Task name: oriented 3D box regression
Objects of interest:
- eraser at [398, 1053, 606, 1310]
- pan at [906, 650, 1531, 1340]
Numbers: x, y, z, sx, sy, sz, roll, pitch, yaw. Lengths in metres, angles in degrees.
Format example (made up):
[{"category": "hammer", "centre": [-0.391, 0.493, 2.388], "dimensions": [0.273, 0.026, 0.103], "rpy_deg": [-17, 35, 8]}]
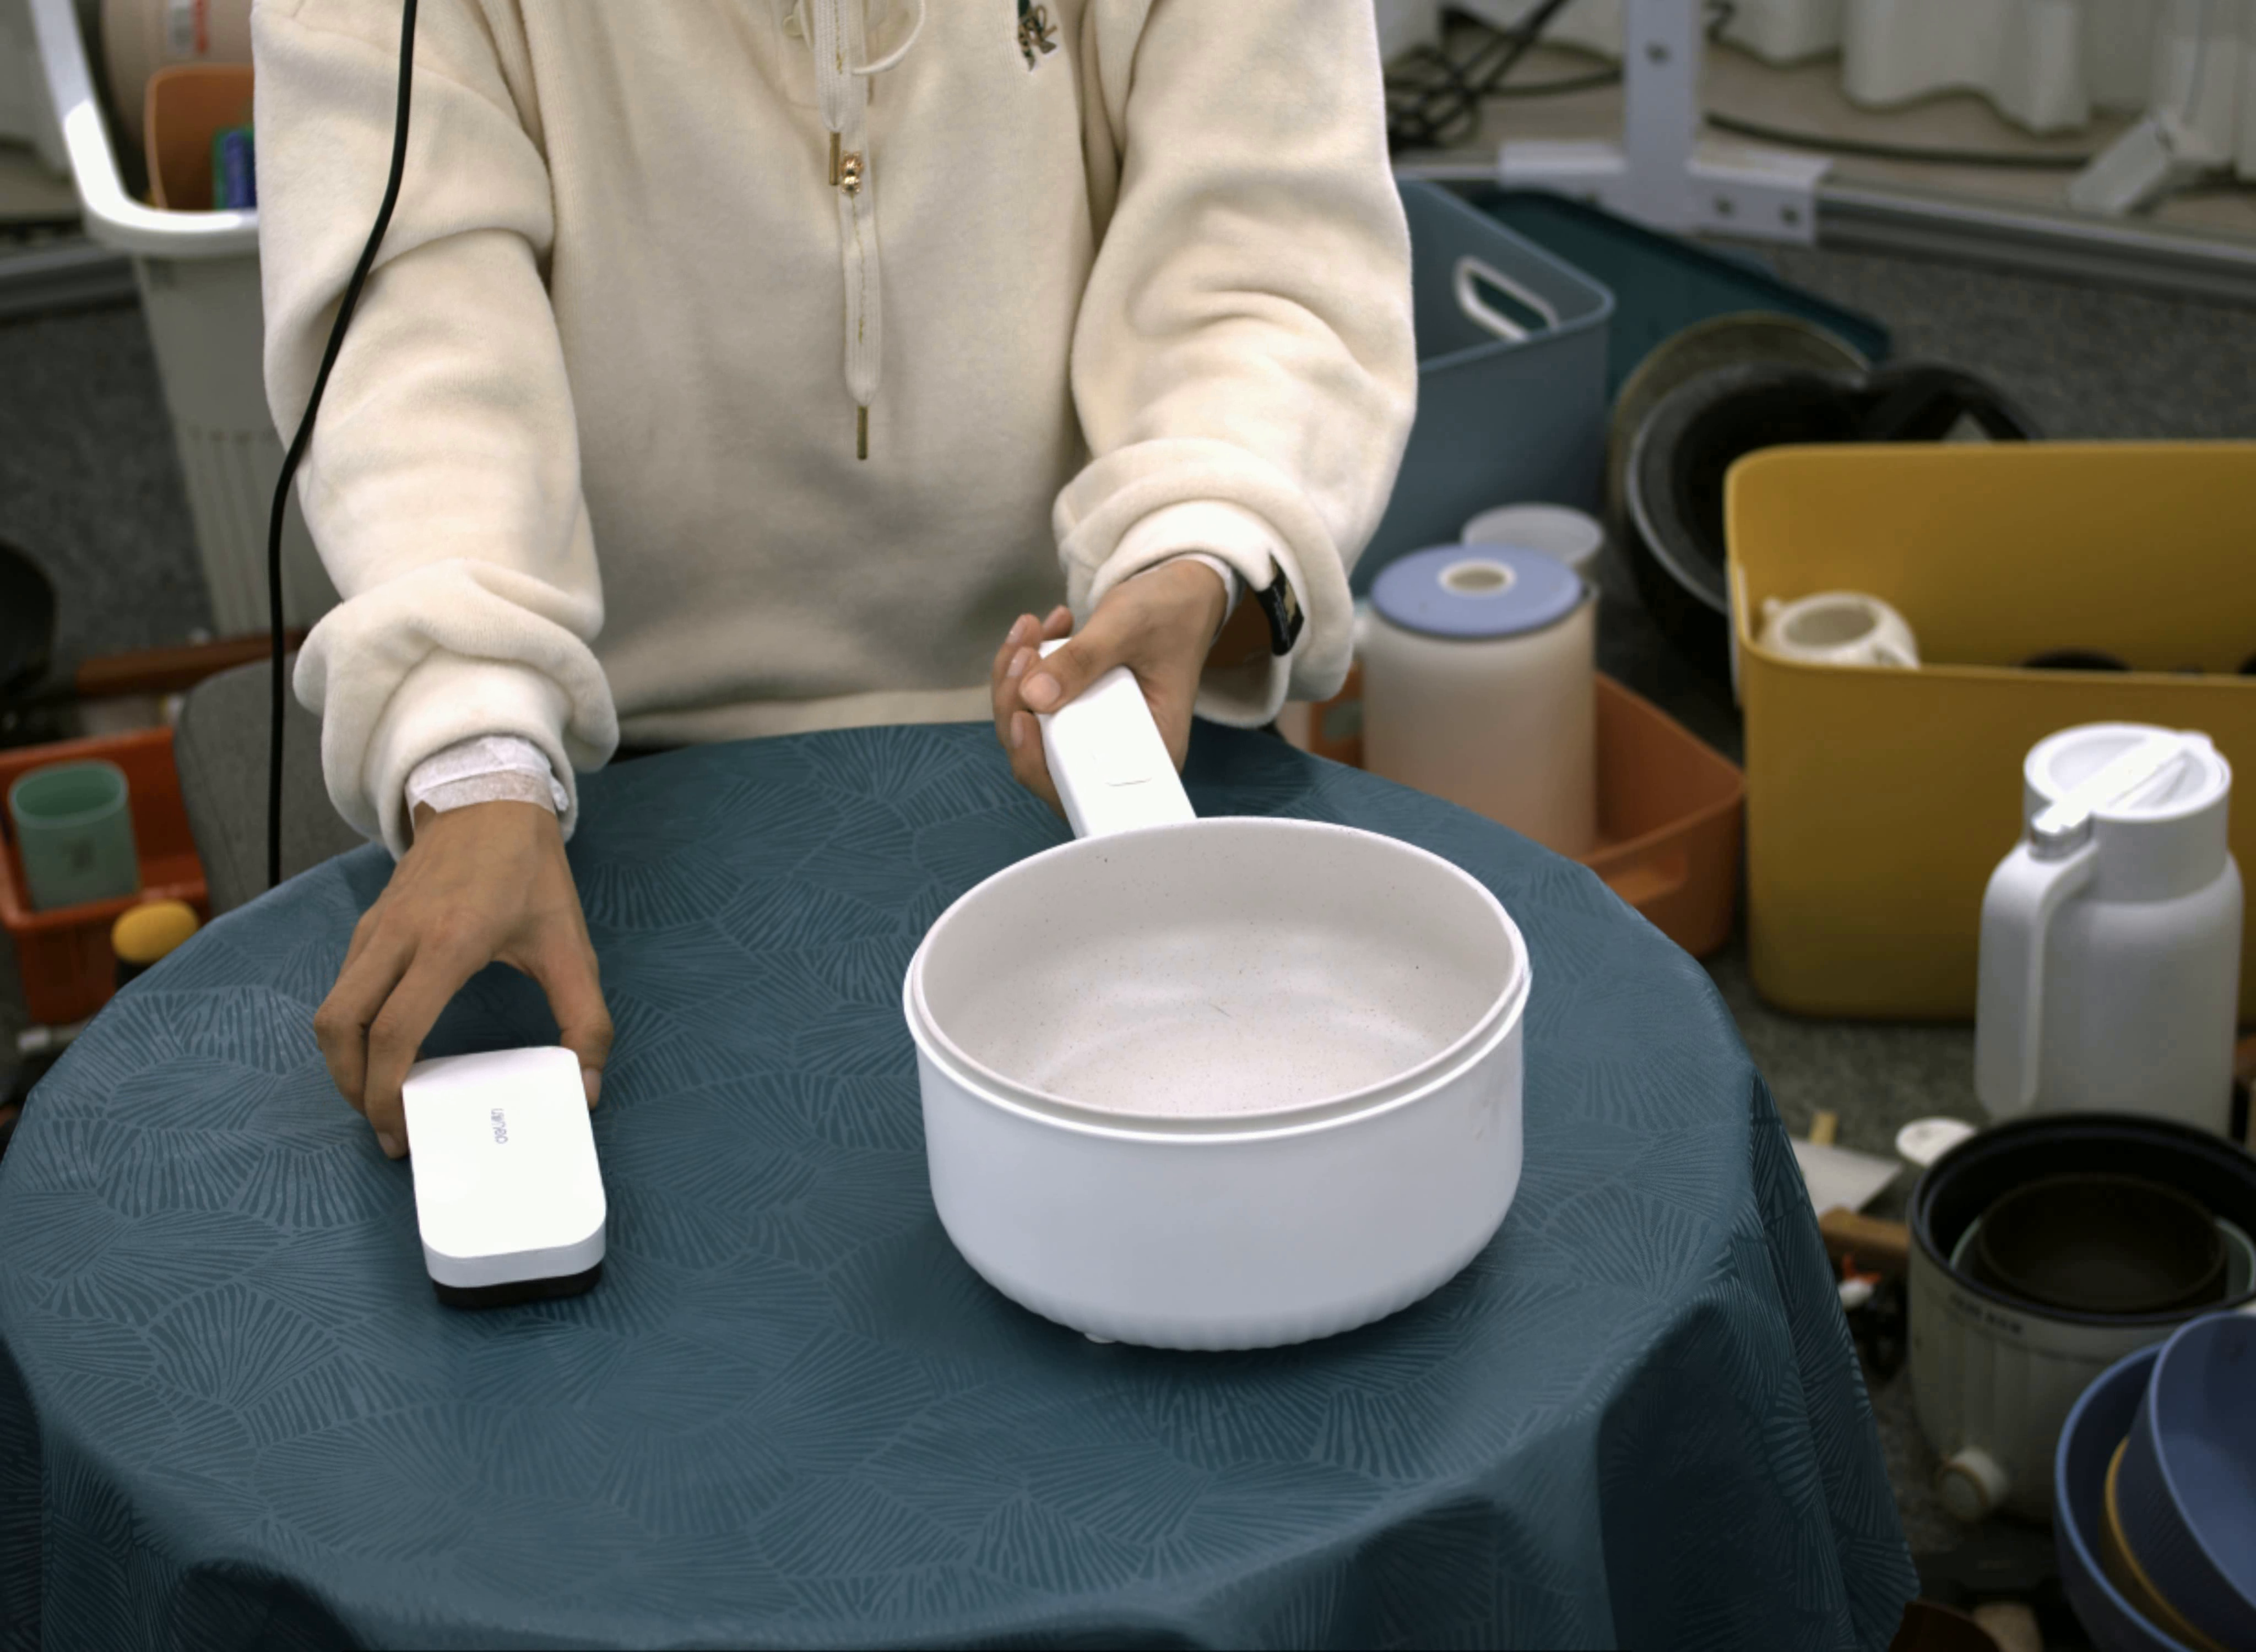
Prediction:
[{"category": "eraser", "centre": [-0.207, 0.114, 1.863], "dimensions": [0.063, 0.034, 0.133], "rpy_deg": [-3, 28, -10]}, {"category": "pan", "centre": [0.015, 0.053, 1.885], "dimensions": [0.201, 0.101, 0.358], "rpy_deg": [-6, 25, -10]}]
